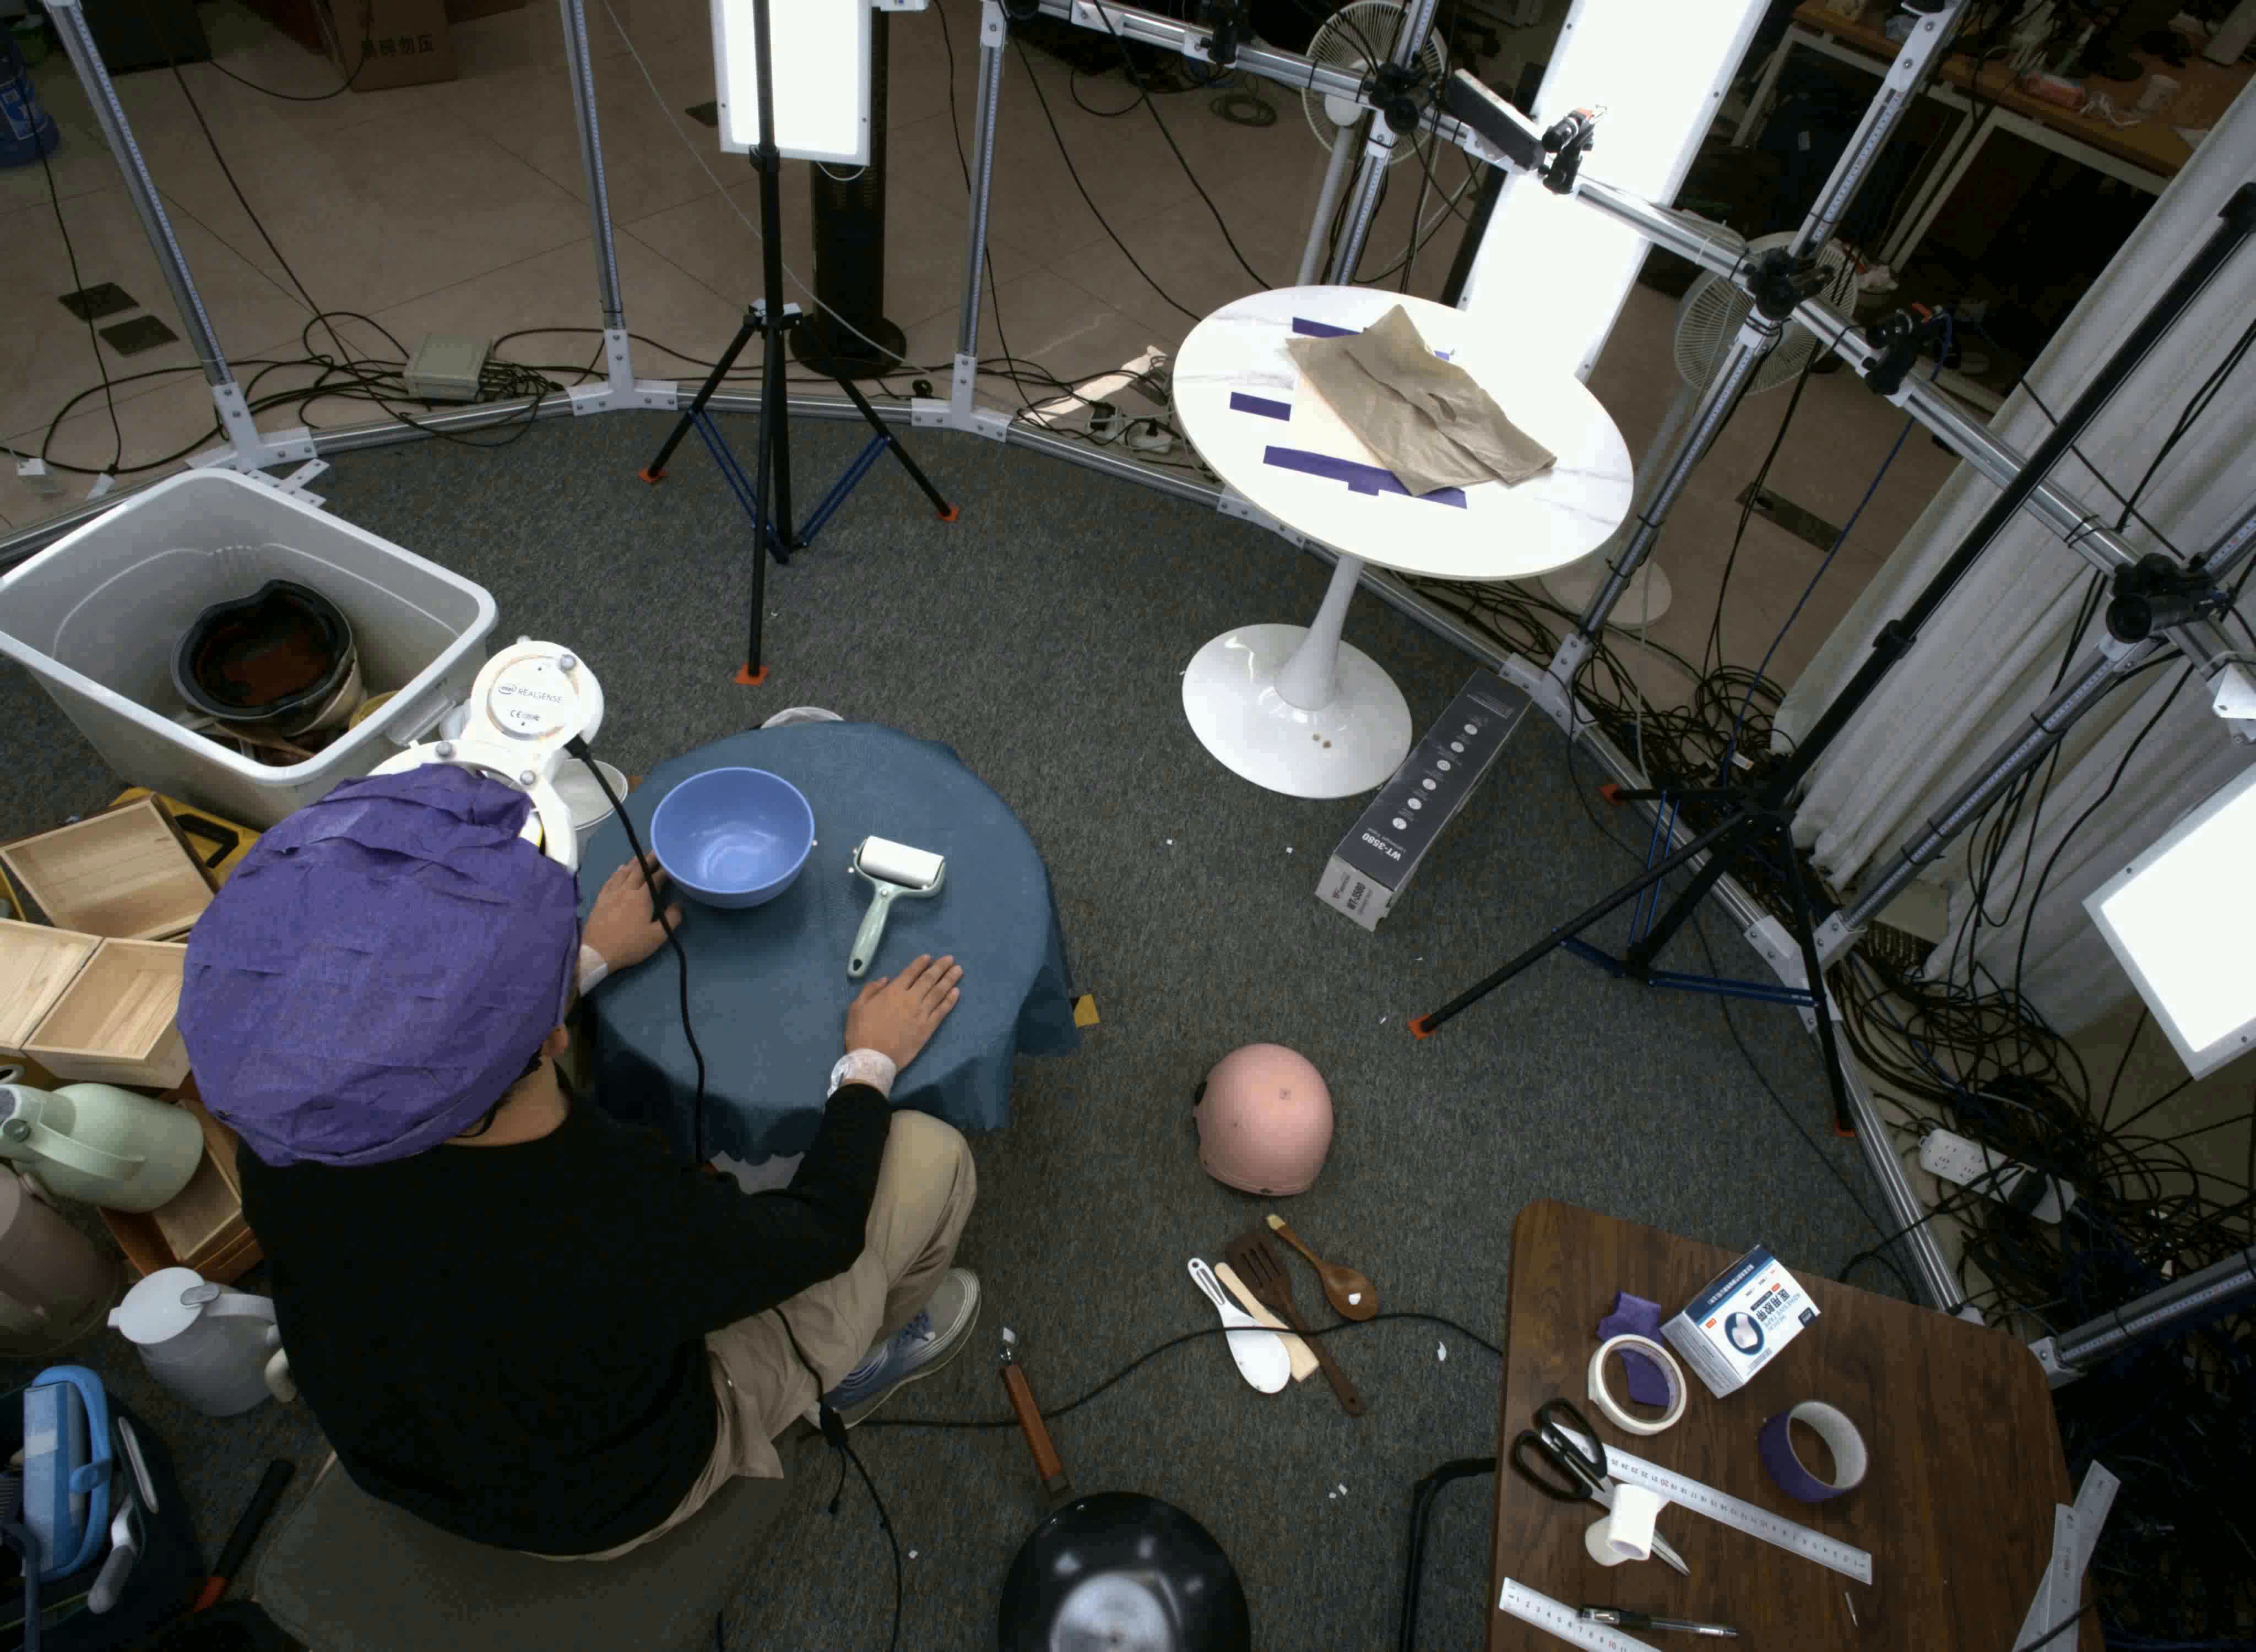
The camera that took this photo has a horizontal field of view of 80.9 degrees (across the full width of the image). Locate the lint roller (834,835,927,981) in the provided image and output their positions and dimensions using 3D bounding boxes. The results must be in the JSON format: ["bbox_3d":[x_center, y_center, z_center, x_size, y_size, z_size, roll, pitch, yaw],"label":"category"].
[{"bbox_3d":[-0.333,0.101,1.639,0.116,0.049,0.195,17,53,-3],"label":"lint roller"}]

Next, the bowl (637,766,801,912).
[{"bbox_3d":[-0.508,0.031,1.611,0.196,0.097,0.193,9,52,-10],"label":"bowl"}]
